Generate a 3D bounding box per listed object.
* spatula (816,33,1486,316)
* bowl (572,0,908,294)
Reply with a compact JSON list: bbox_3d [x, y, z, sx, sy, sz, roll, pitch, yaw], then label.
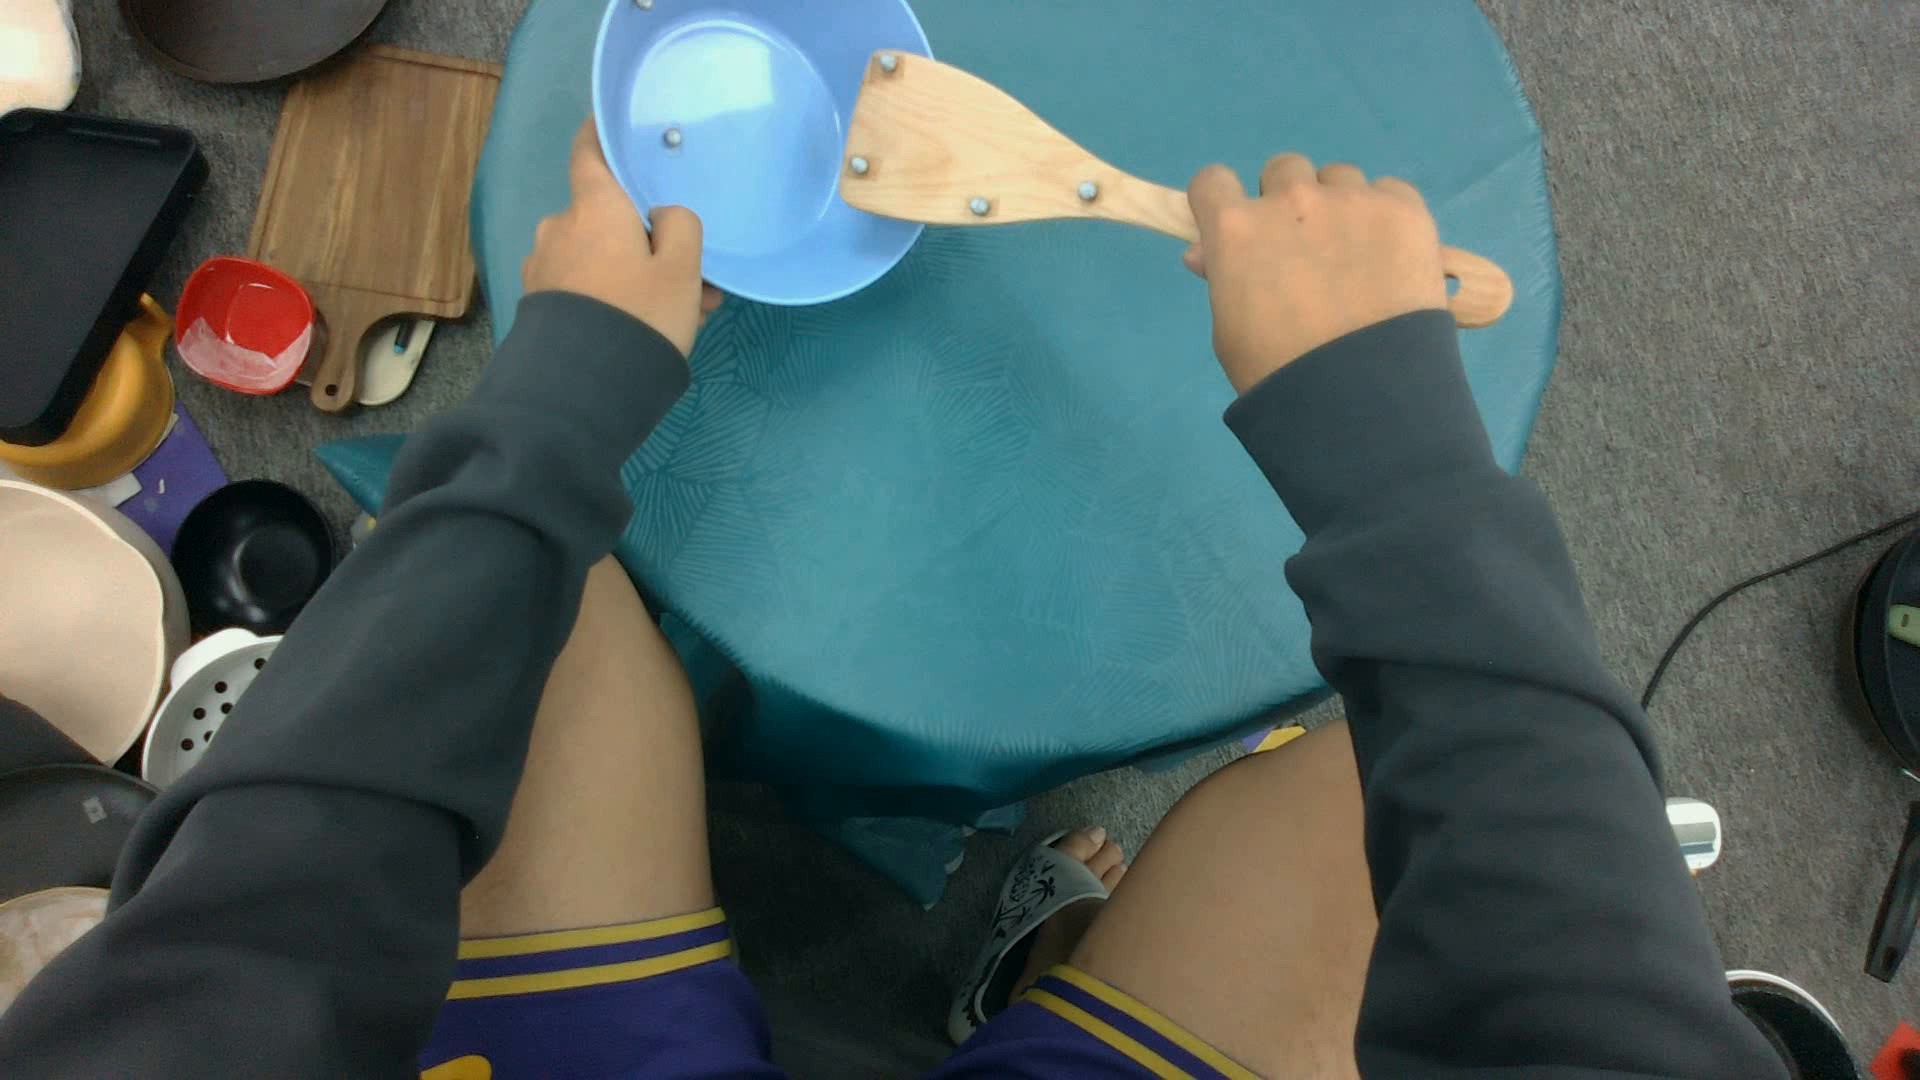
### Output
[{"bbox_3d":[0.063,-0.151,0.588,0.327,0.016,0.080,25,92,31],"label":"spatula"},{"bbox_3d":[-0.109,-0.205,0.666,0.176,0.070,0.176,-3,96,-33],"label":"bowl"}]
